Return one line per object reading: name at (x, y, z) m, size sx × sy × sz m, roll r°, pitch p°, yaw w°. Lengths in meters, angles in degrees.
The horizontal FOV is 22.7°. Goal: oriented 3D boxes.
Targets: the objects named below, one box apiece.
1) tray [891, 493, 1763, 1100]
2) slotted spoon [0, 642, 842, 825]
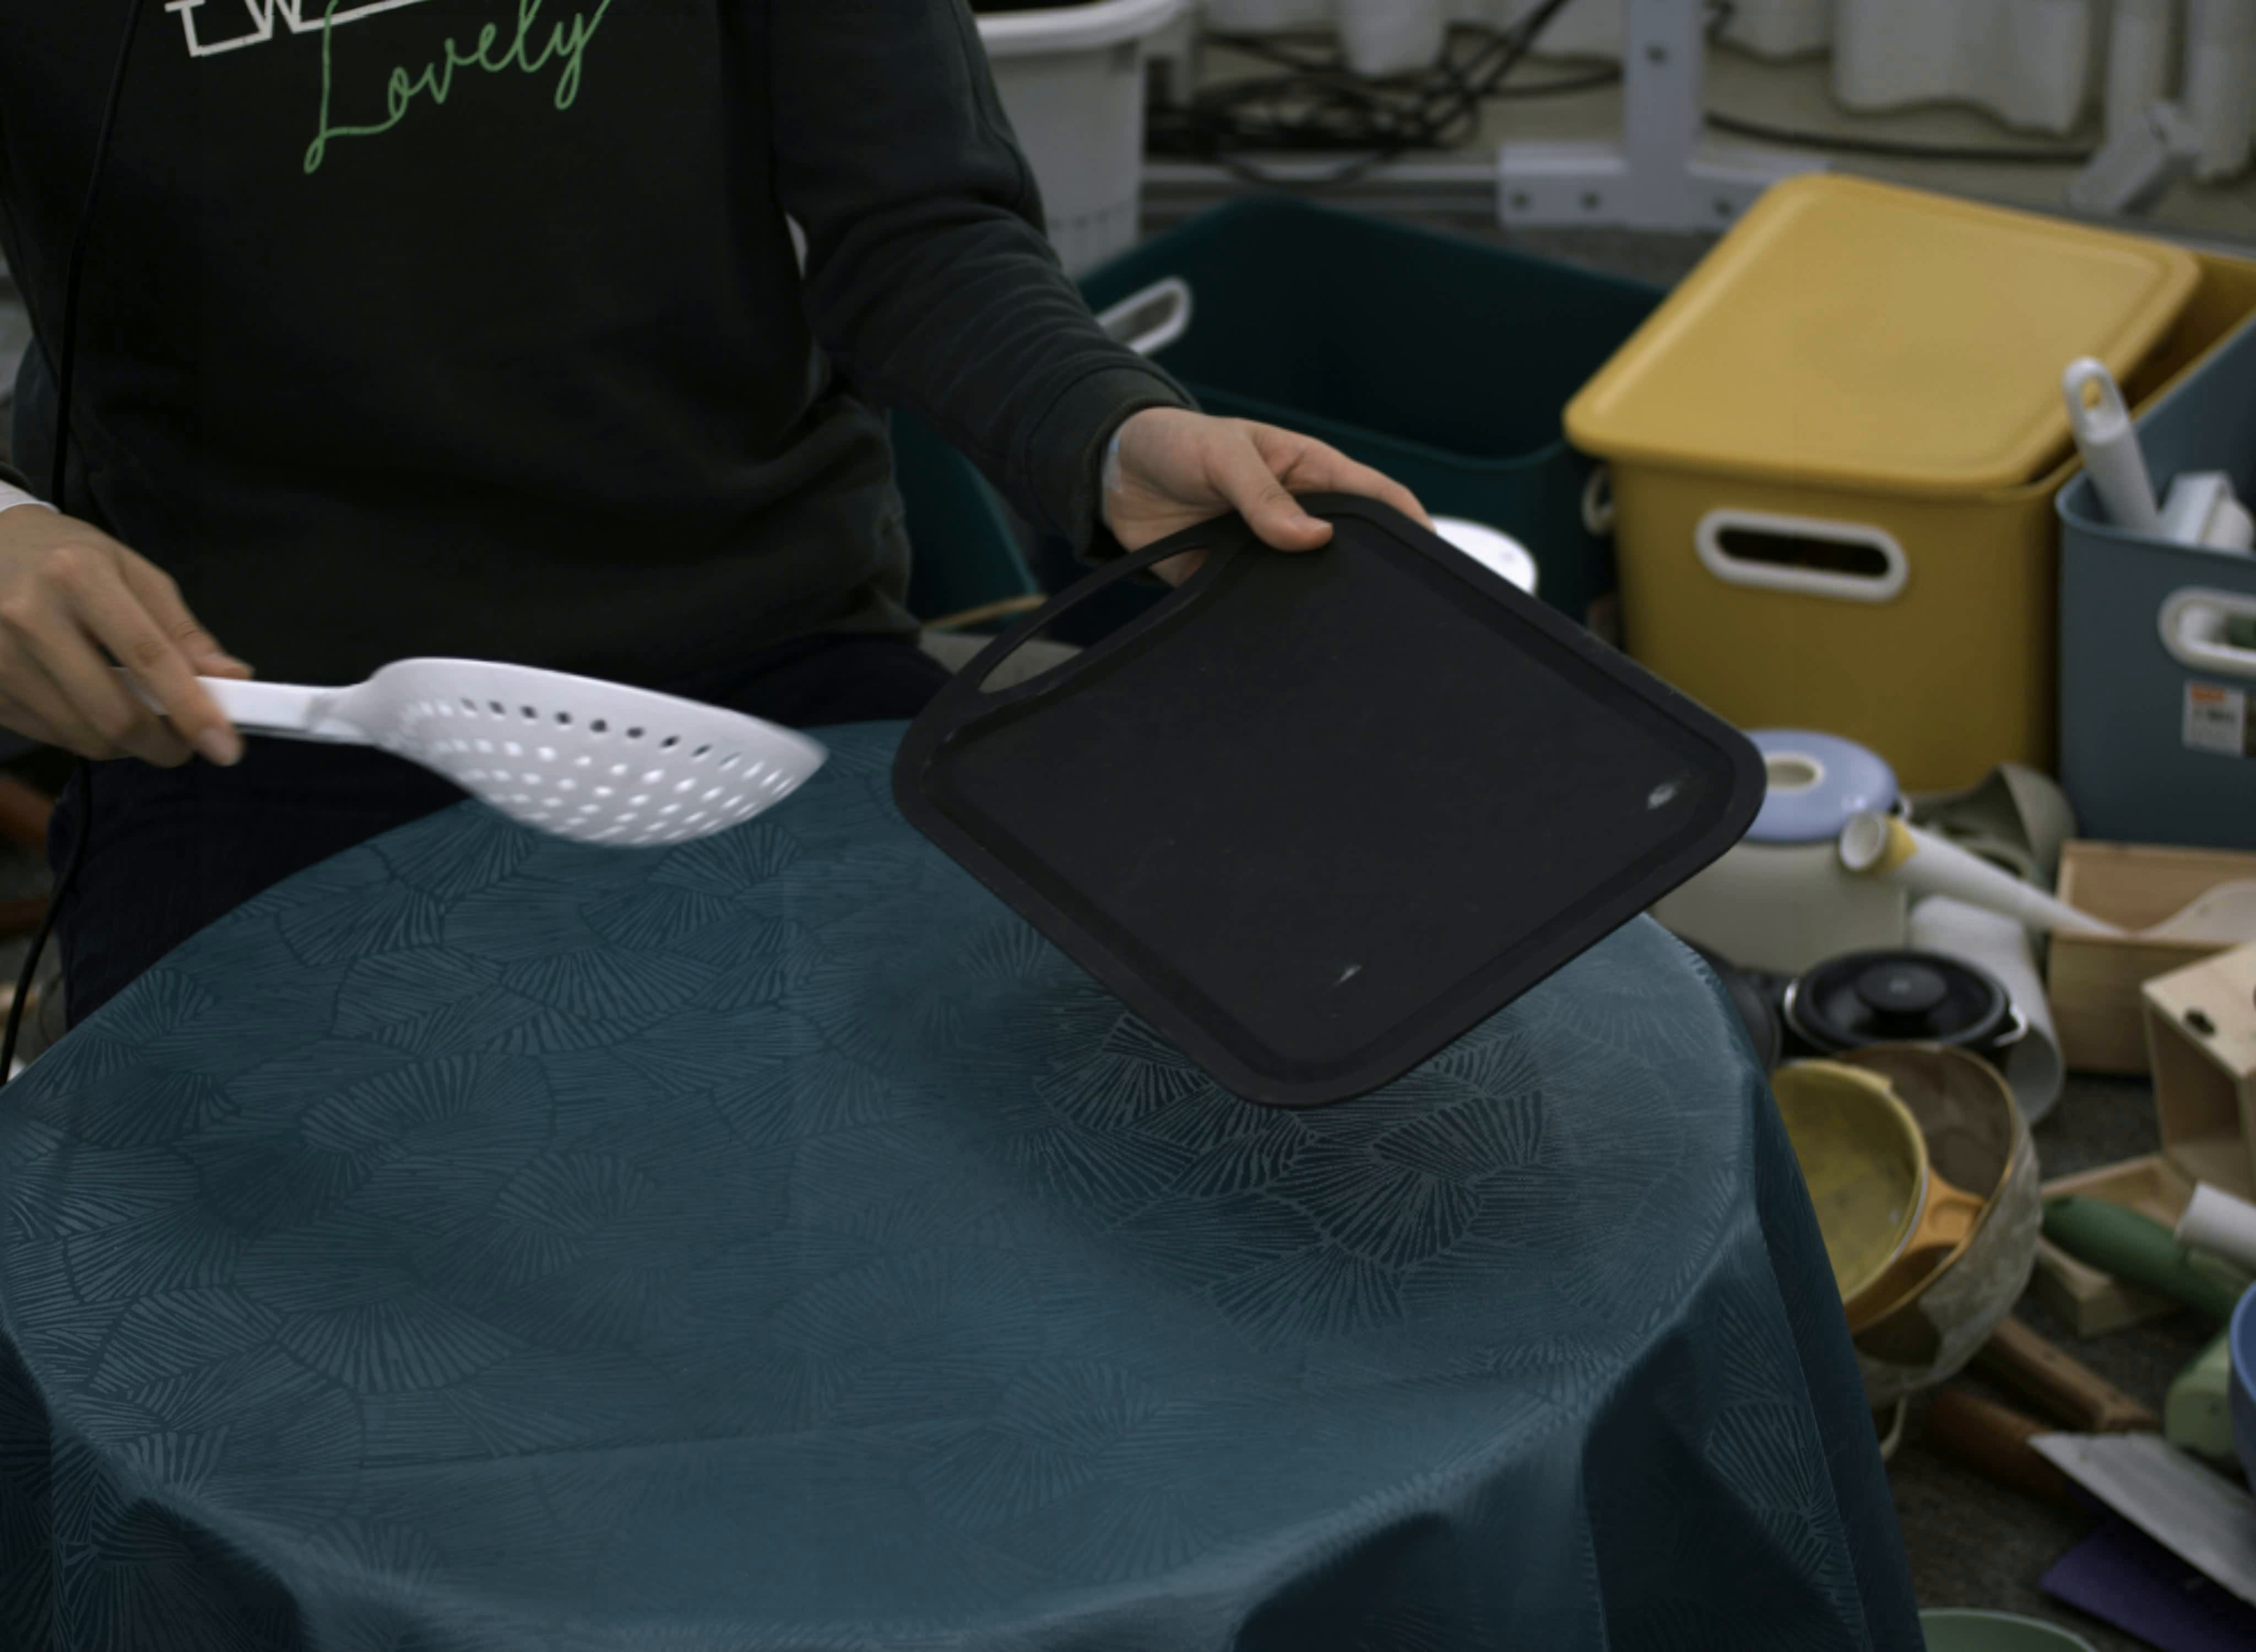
tray at (0.055, -0.020, 1.885) m, size 0.212 × 0.009 × 0.327 m, roll -32°, pitch 36°, yaw -15°
slotted spoon at (-0.240, -0.039, 1.803) m, size 0.347 × 0.046 × 0.136 m, roll 10°, pitch -5°, yaw 39°
